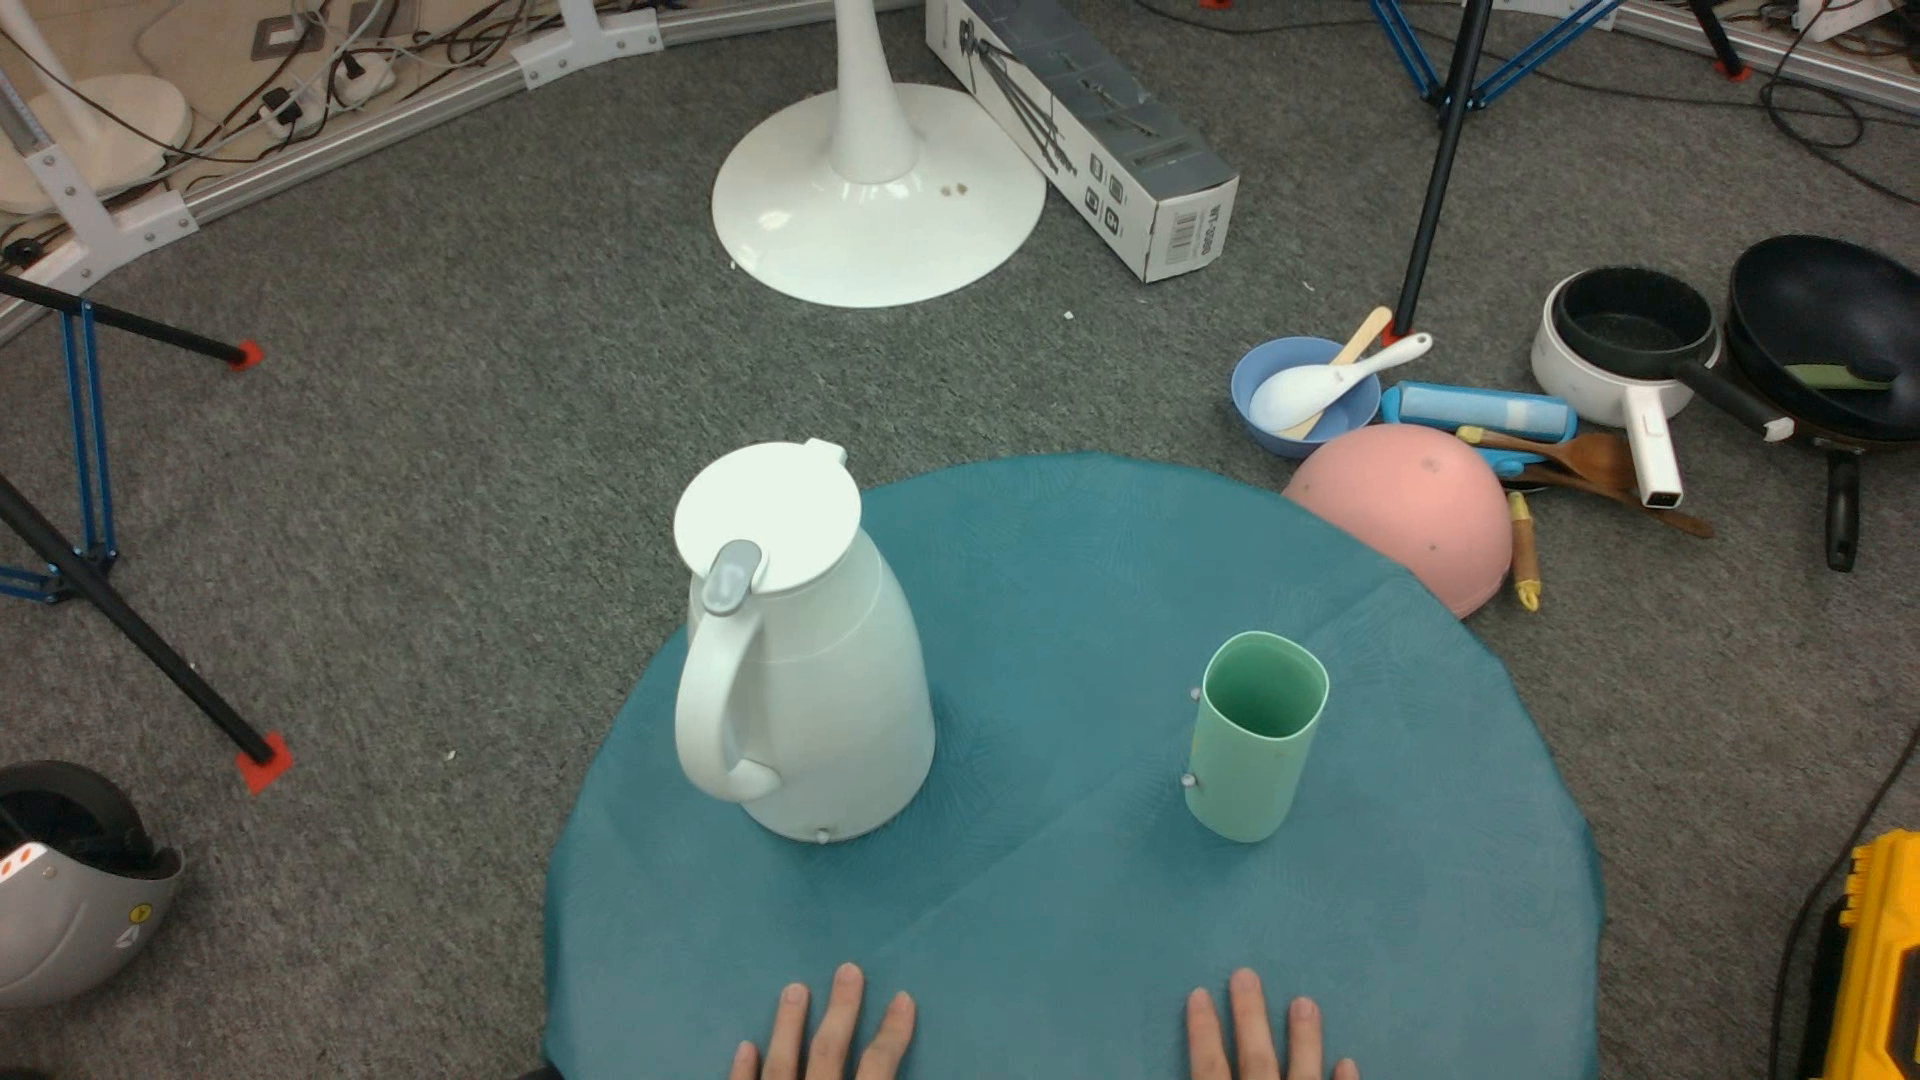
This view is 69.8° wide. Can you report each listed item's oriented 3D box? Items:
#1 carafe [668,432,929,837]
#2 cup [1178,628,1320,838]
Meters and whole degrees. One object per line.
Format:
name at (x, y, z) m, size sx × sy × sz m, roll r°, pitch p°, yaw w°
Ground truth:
carafe at (-0.097, 0.067, 0.750) m, size 0.132 × 0.247 × 0.168 m, roll 17°, pitch 57°, yaw 14°
cup at (0.162, 0.113, 0.780) m, size 0.067 × 0.132 × 0.067 m, roll -2°, pitch 54°, yaw 2°
